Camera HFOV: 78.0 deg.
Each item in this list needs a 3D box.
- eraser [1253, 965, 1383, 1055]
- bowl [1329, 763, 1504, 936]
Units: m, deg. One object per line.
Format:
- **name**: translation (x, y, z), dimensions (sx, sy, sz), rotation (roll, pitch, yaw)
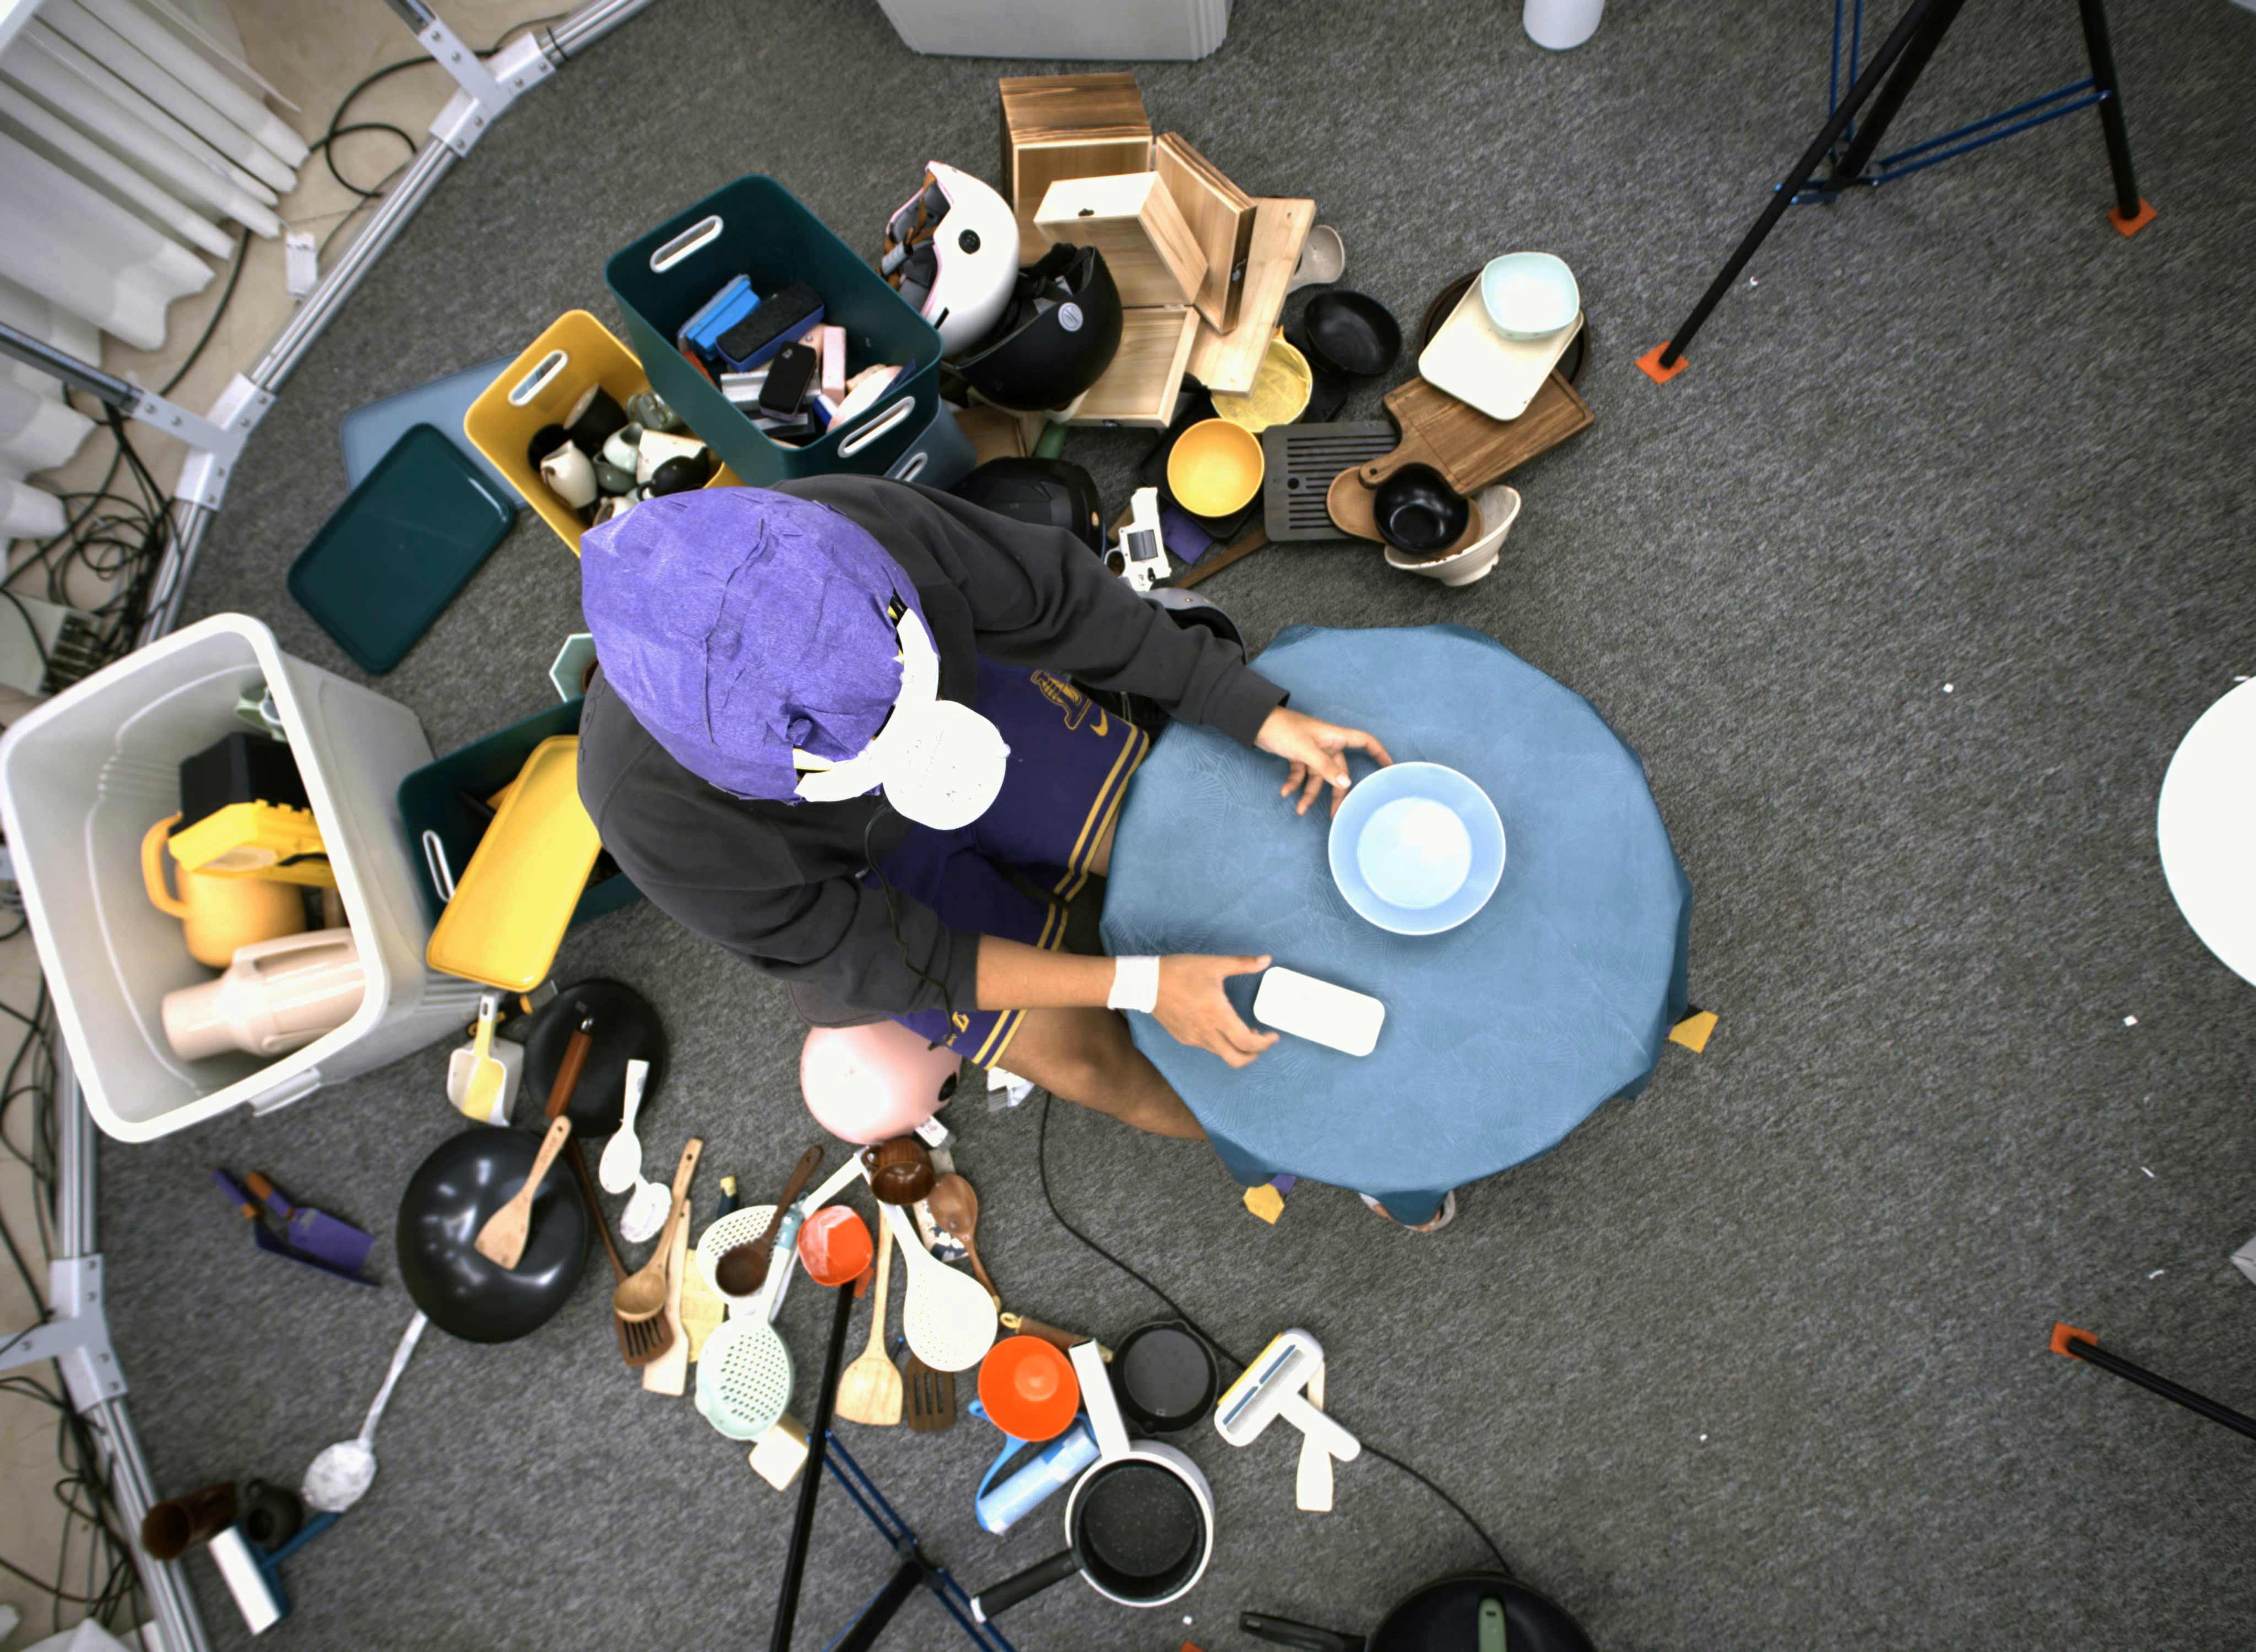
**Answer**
- **eraser**: translation (0.199, 0.190, 1.450), dimensions (0.131, 0.034, 0.063), rotation (20, 88, 9)
- **bowl**: translation (0.295, 0.025, 1.421), dimensions (0.177, 0.070, 0.175), rotation (-1, 86, 10)
